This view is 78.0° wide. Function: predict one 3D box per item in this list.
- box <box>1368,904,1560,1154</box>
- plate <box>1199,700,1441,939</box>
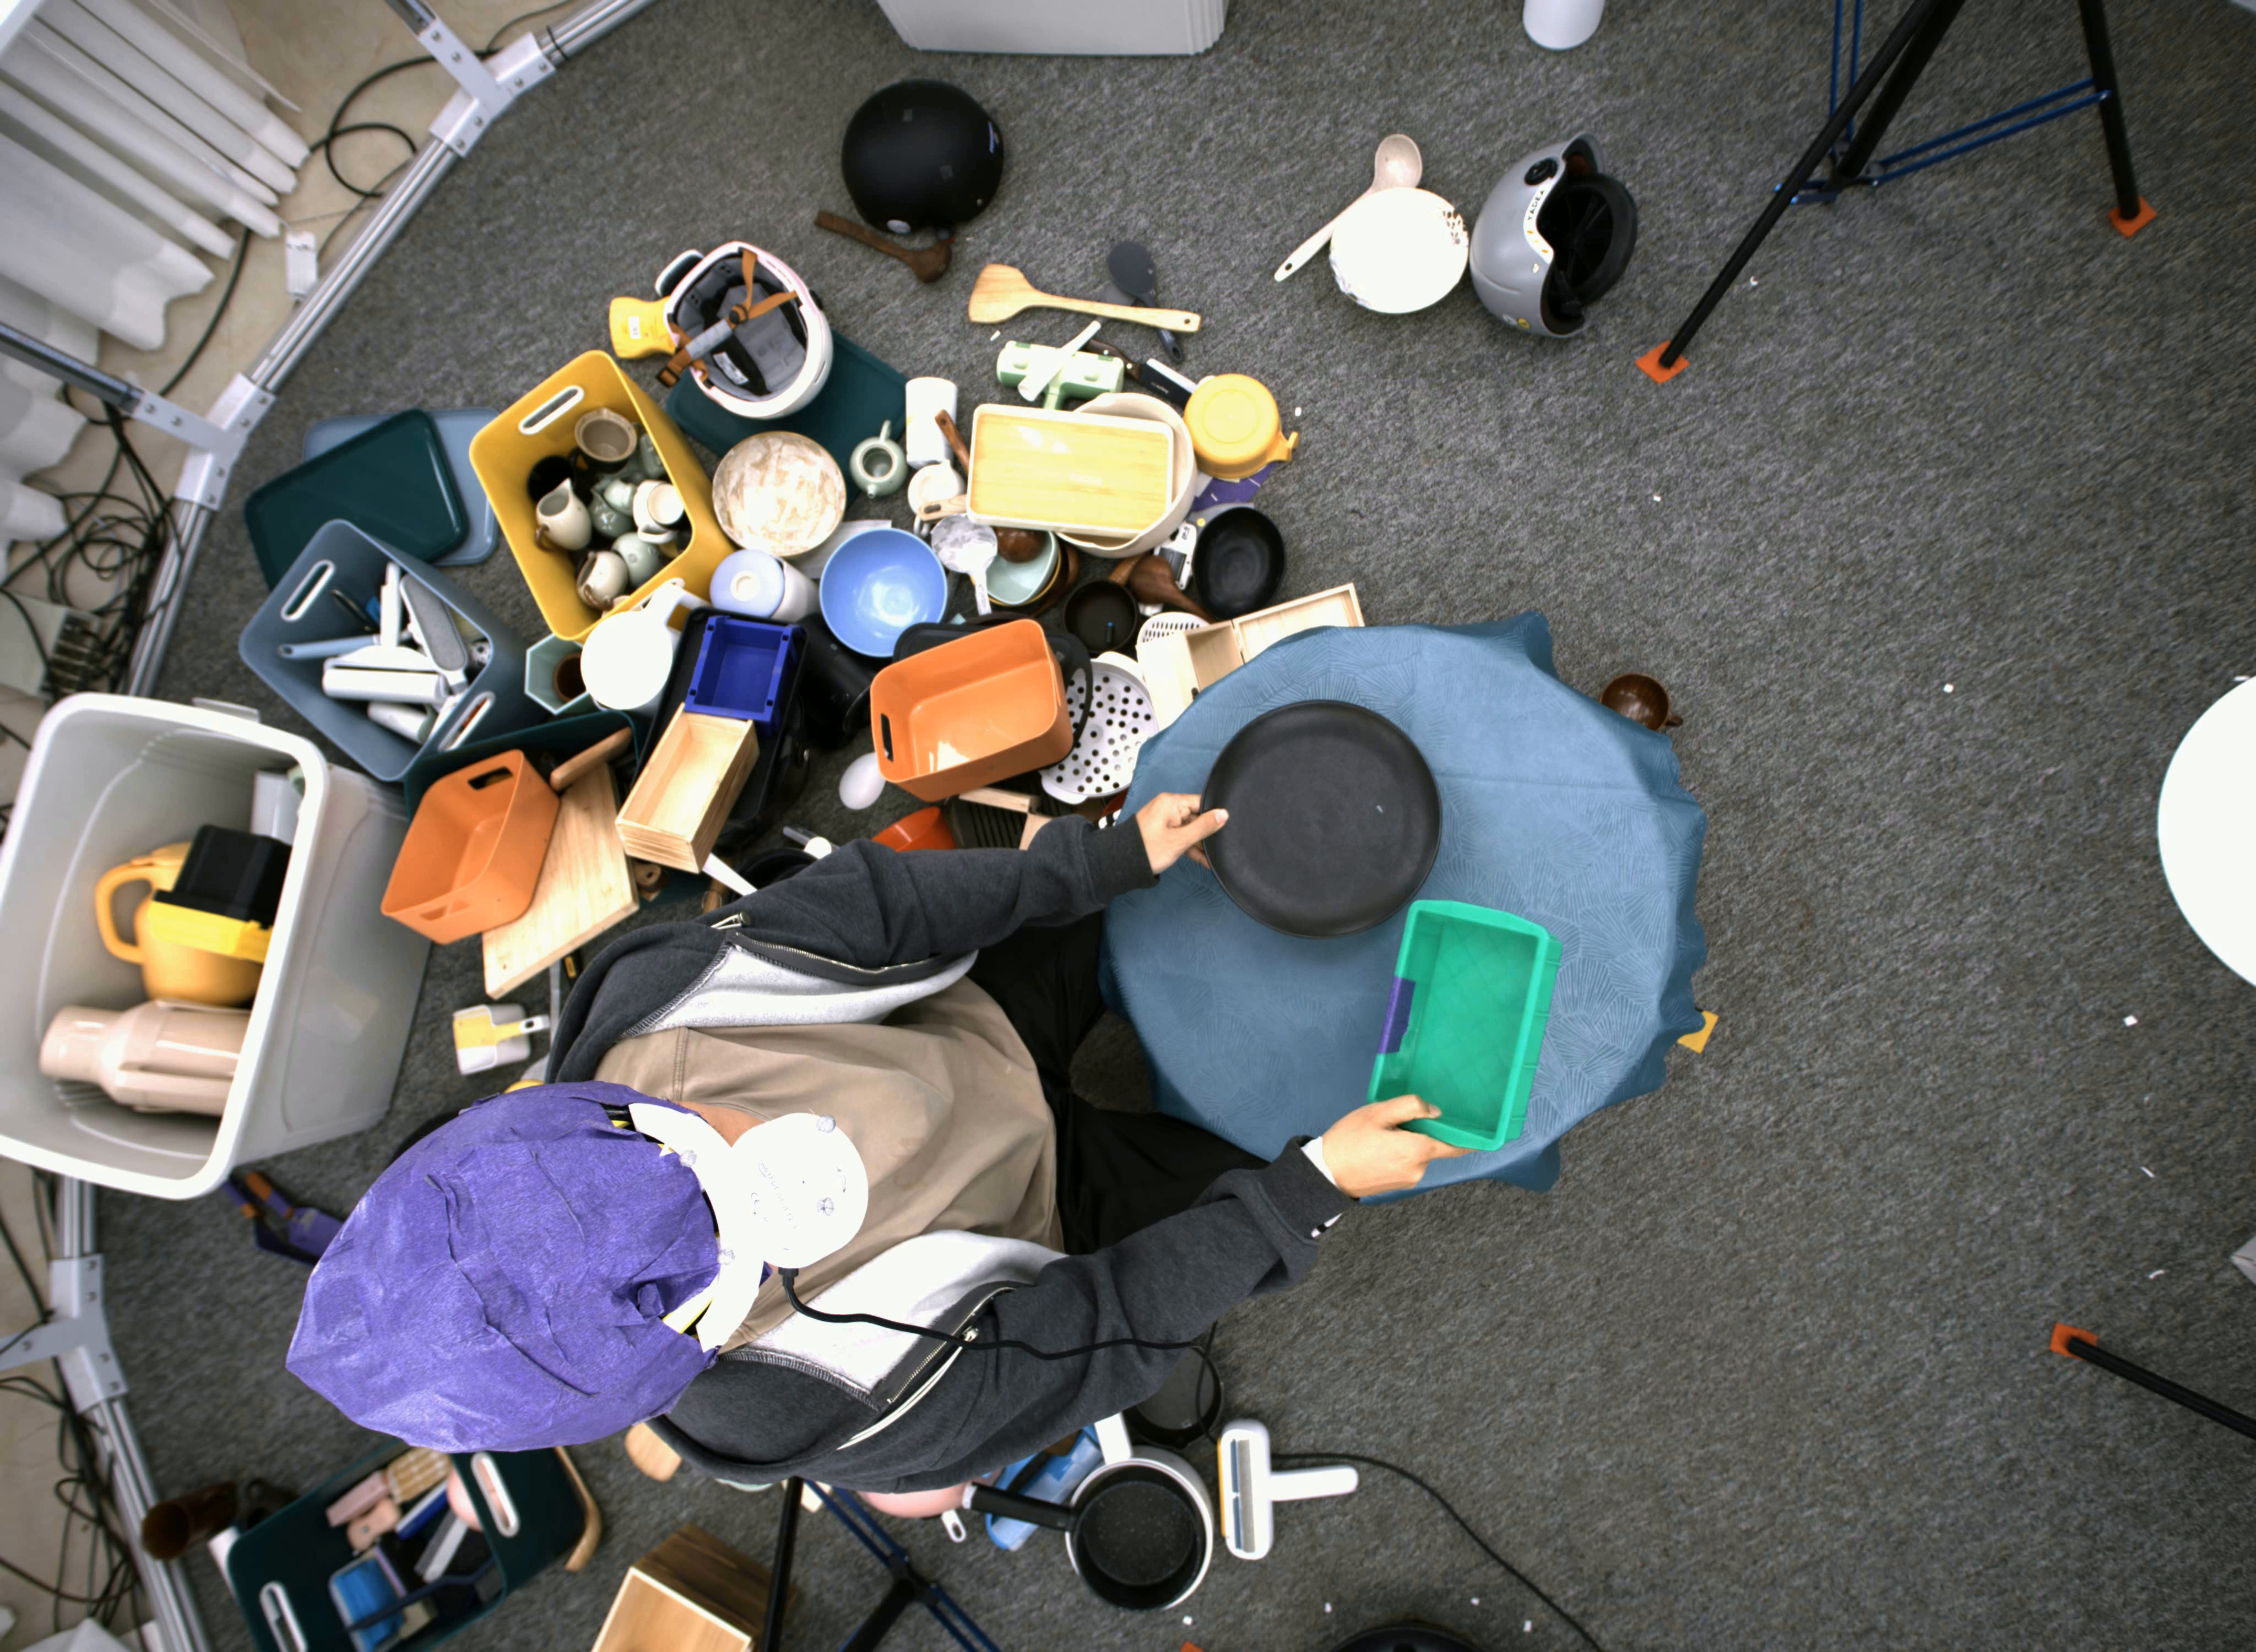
[{"bbox_3d":[0.307,0.179,1.246,0.139,0.065,0.210,12,92,42],"label":"box"},{"bbox_3d":[0.193,-0.007,1.395,0.245,0.023,0.243,-1,86,7],"label":"plate"}]
